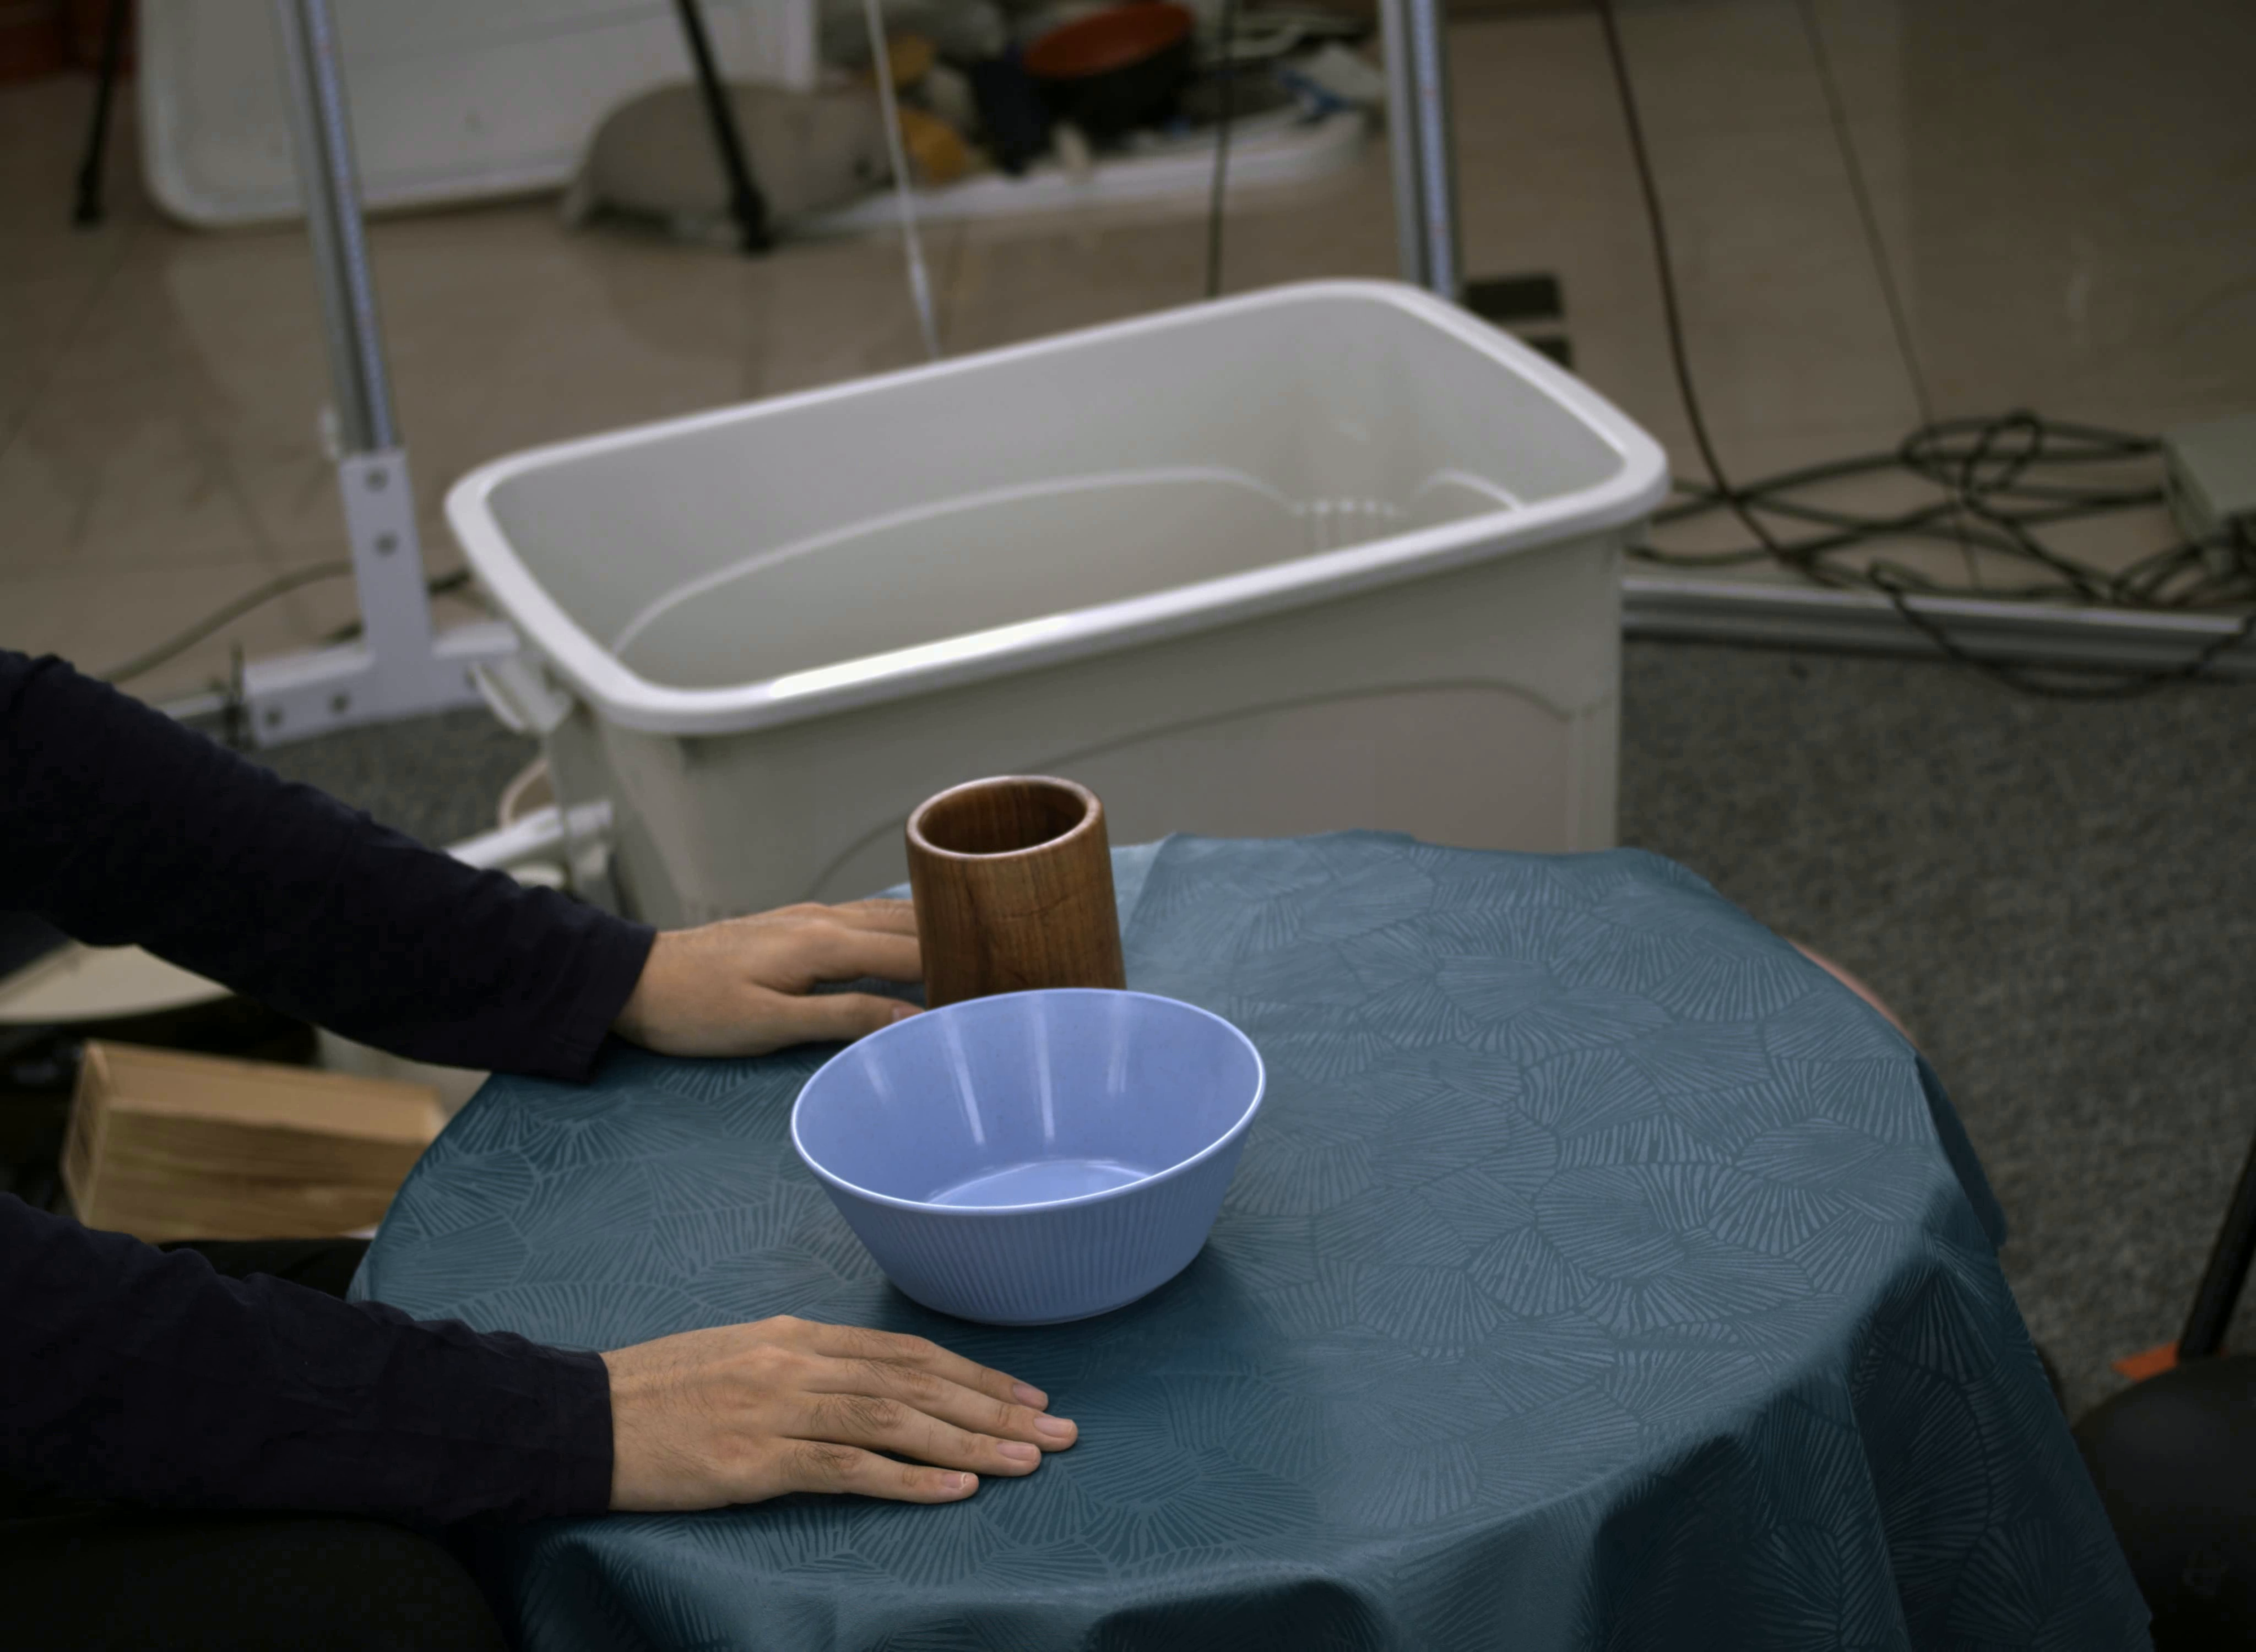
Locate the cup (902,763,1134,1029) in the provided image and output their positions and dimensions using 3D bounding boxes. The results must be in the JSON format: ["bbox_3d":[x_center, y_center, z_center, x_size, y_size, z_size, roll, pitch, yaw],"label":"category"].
[{"bbox_3d":[-0.041,0.045,2.222,0.087,0.120,0.086,-7,25,3],"label":"cup"}]

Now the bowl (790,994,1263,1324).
[{"bbox_3d":[-0.034,0.129,2.094,0.176,0.071,0.173,-6,24,3],"label":"bowl"}]
